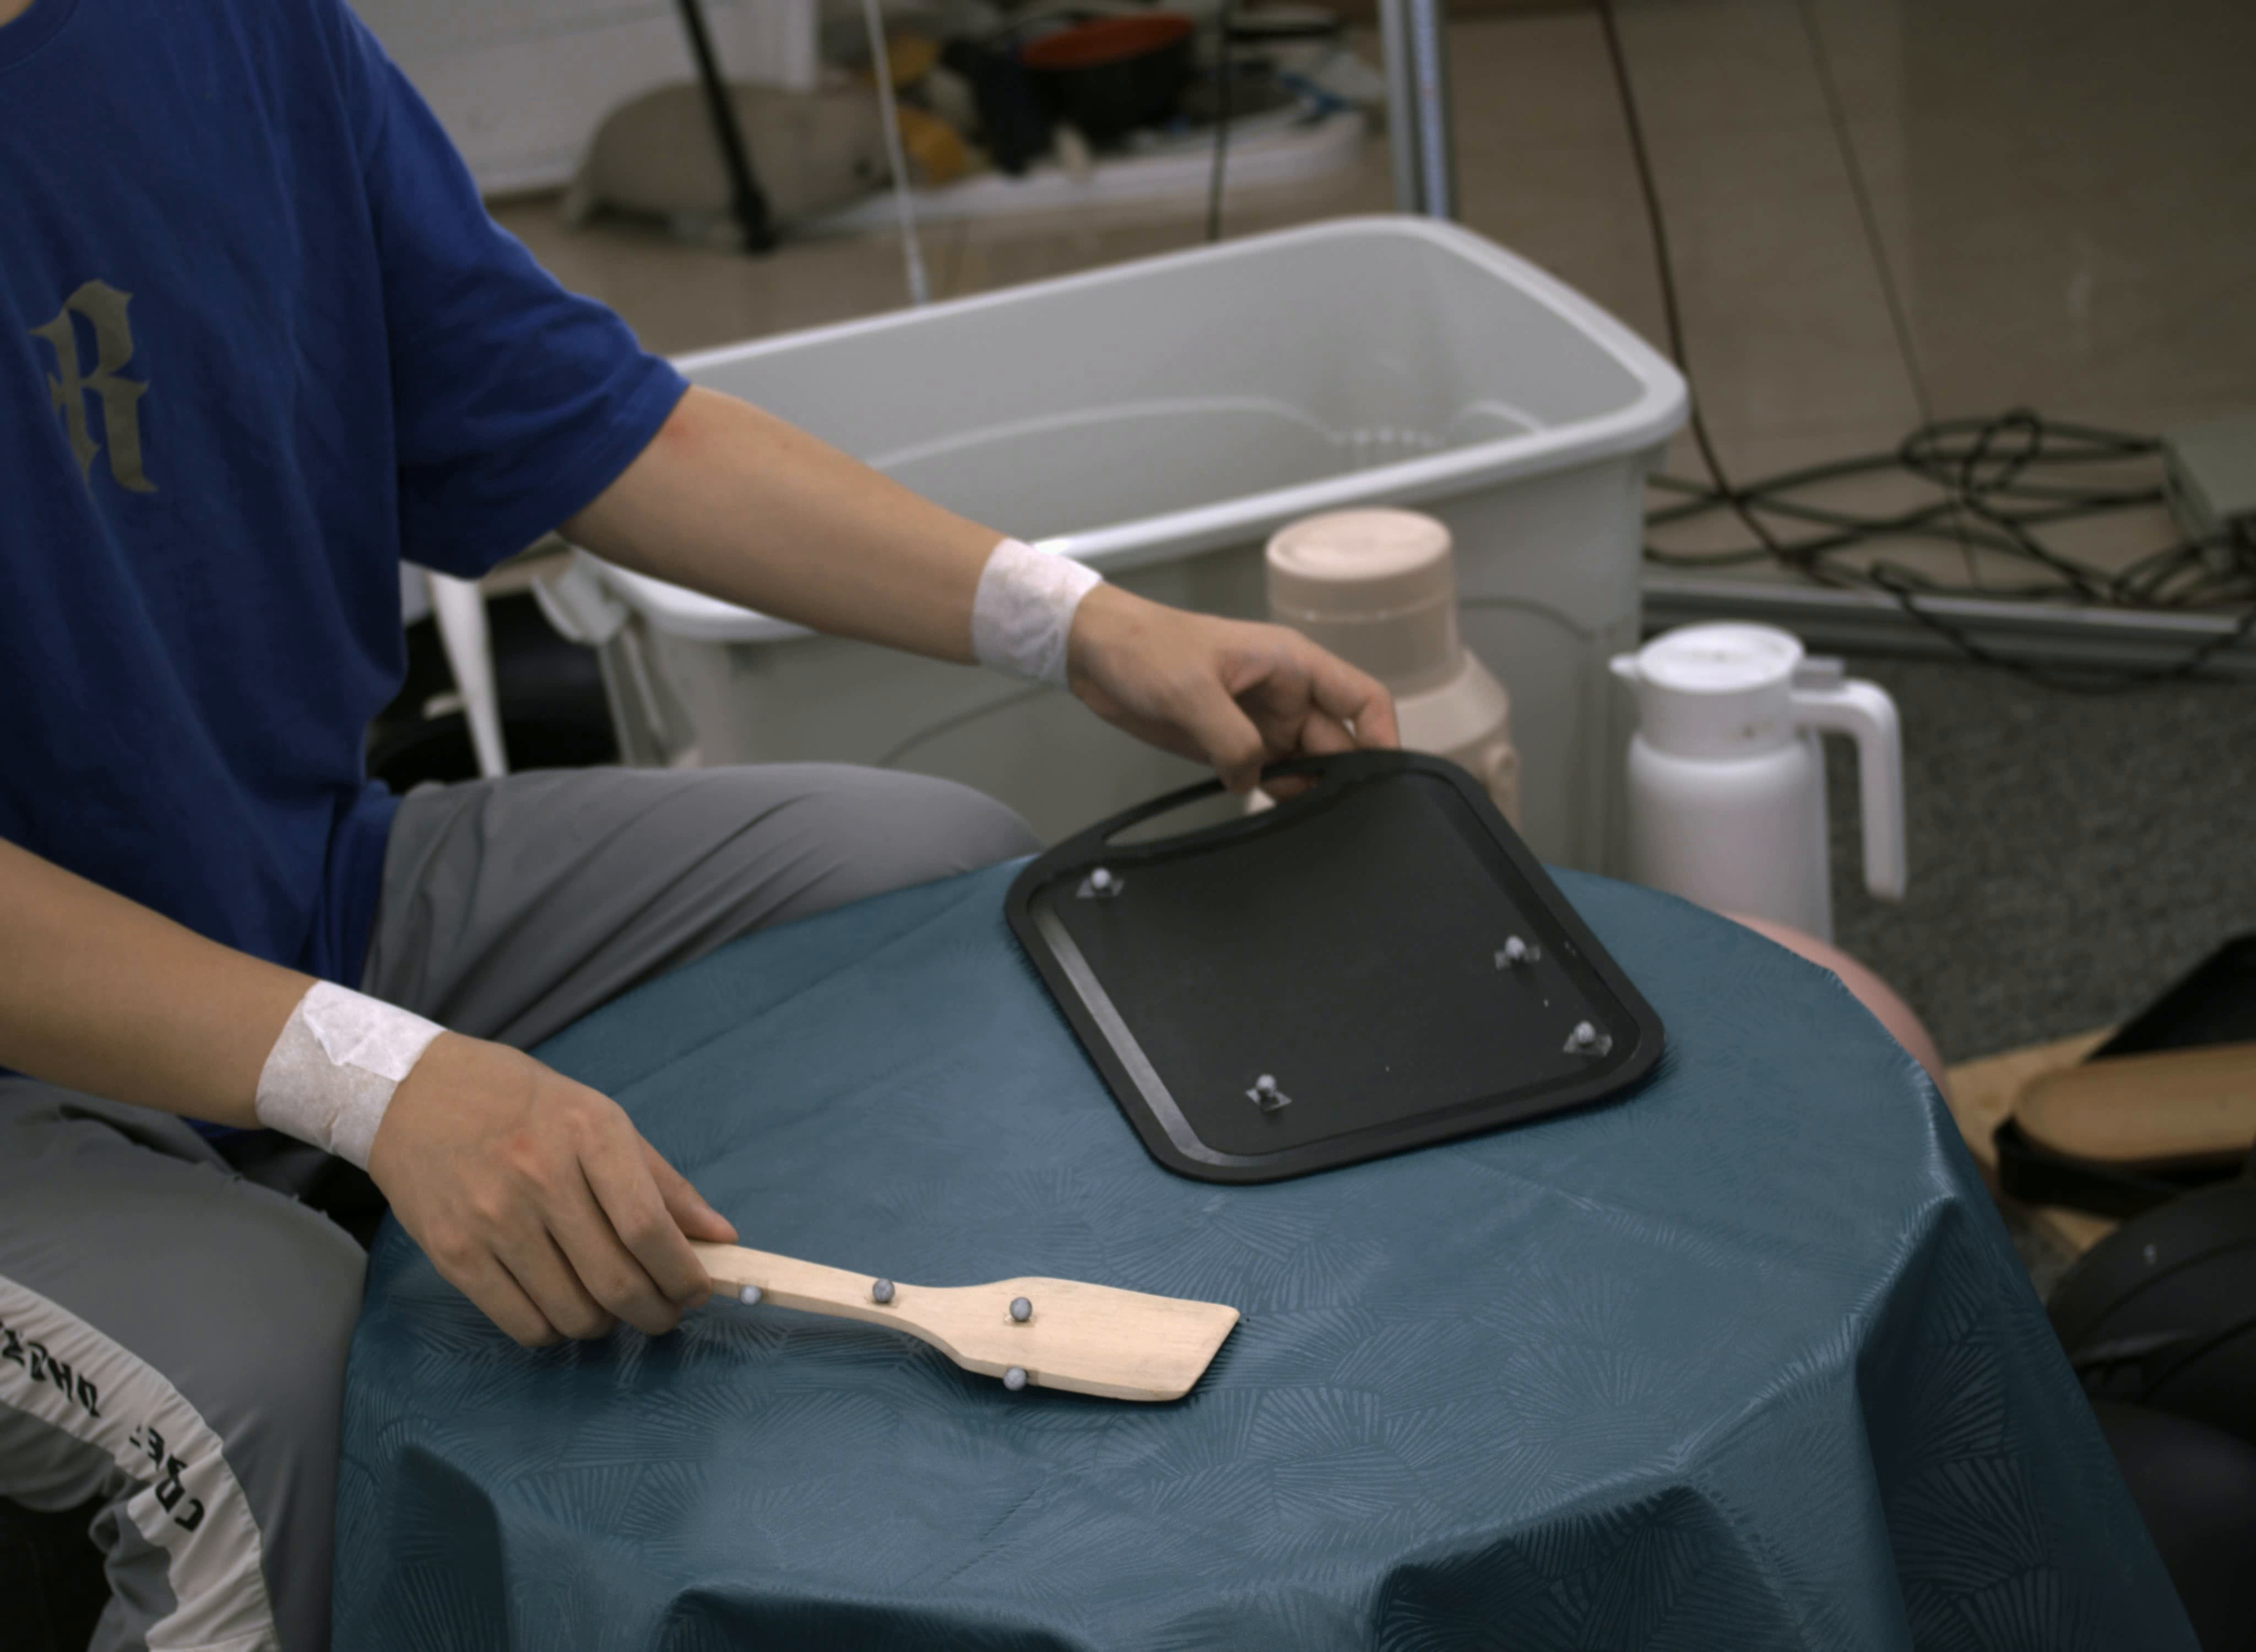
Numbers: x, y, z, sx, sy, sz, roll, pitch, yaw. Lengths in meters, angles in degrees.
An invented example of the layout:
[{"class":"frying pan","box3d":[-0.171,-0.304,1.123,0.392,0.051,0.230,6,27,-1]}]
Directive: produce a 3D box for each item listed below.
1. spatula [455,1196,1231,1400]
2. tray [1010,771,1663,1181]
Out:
[{"class":"spatula","box3d":[-0.110,0.168,2.066,0.292,0.011,0.071,9,26,16]},{"class":"tray","box3d":[0.075,0.052,2.291,0.210,0.010,0.321,-14,28,-10]}]
